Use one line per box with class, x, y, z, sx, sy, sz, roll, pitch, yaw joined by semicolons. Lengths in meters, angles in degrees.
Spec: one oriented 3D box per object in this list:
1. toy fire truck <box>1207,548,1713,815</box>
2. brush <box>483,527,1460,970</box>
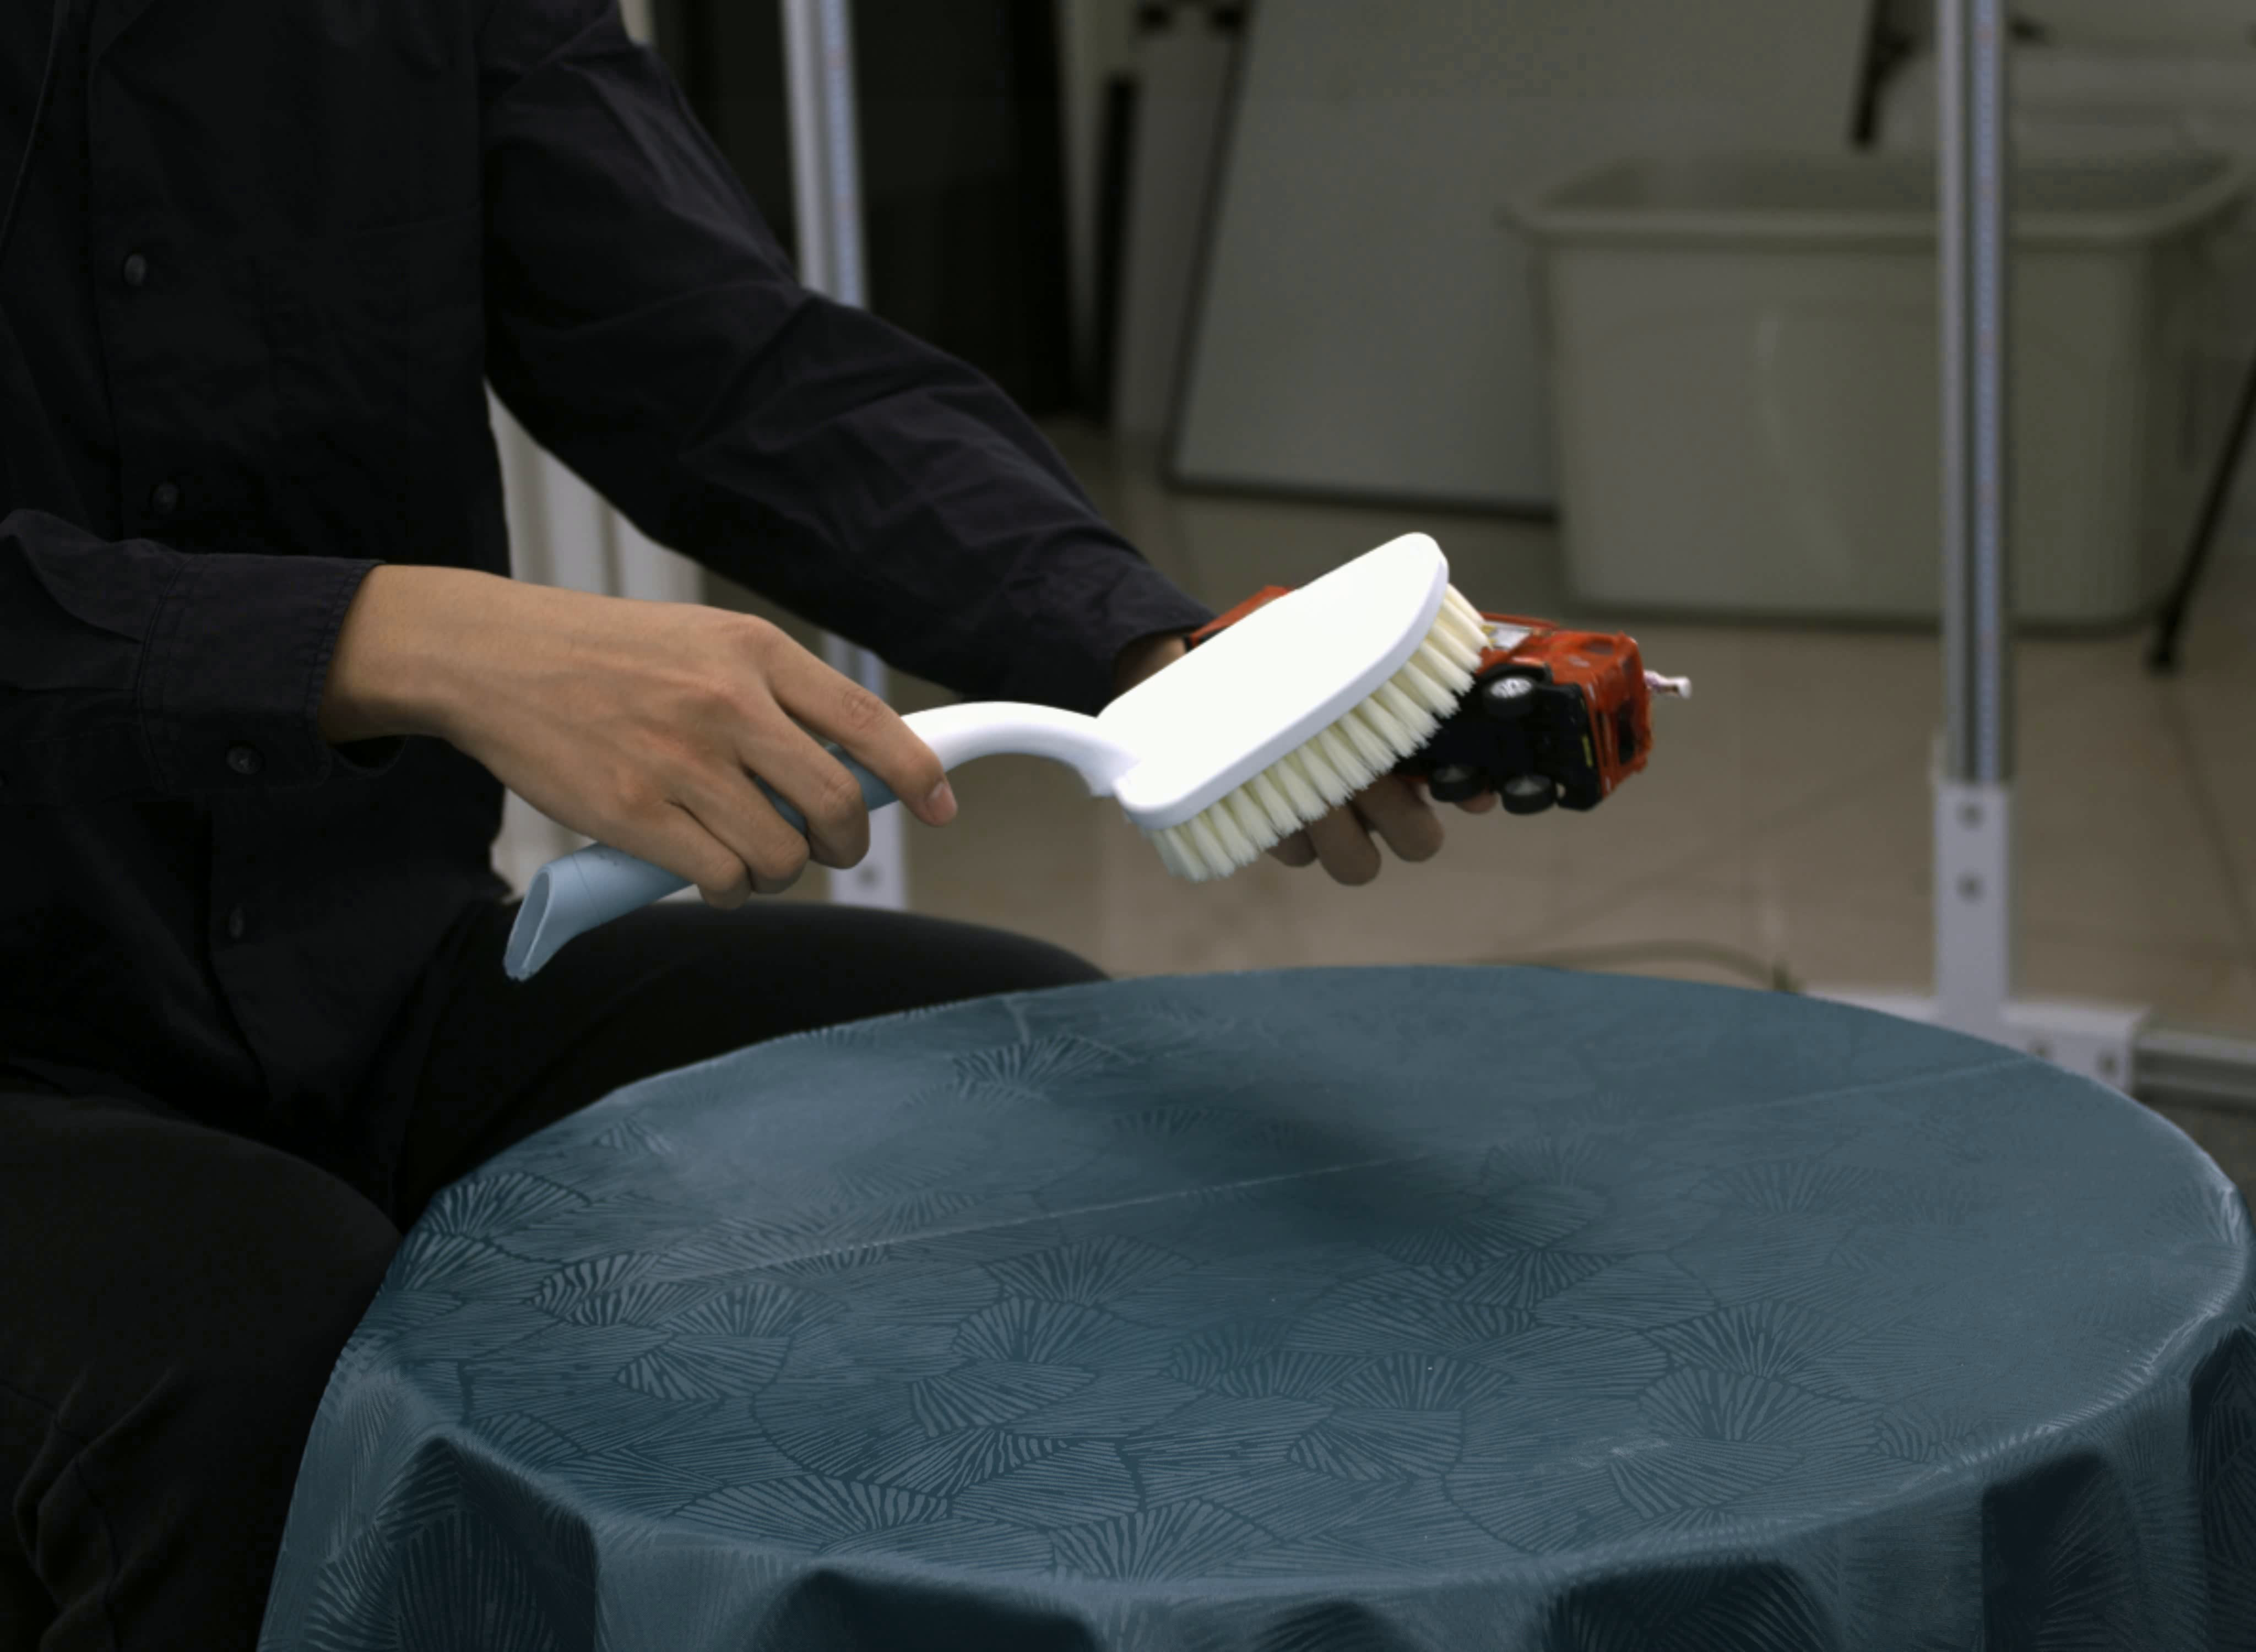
toy fire truck;0.102;-0.048;1.736;0.169;0.054;0.069;9;32;40
brush;-0.045;-0.002;1.692;0.321;0.085;0.083;-23;-4;-5
